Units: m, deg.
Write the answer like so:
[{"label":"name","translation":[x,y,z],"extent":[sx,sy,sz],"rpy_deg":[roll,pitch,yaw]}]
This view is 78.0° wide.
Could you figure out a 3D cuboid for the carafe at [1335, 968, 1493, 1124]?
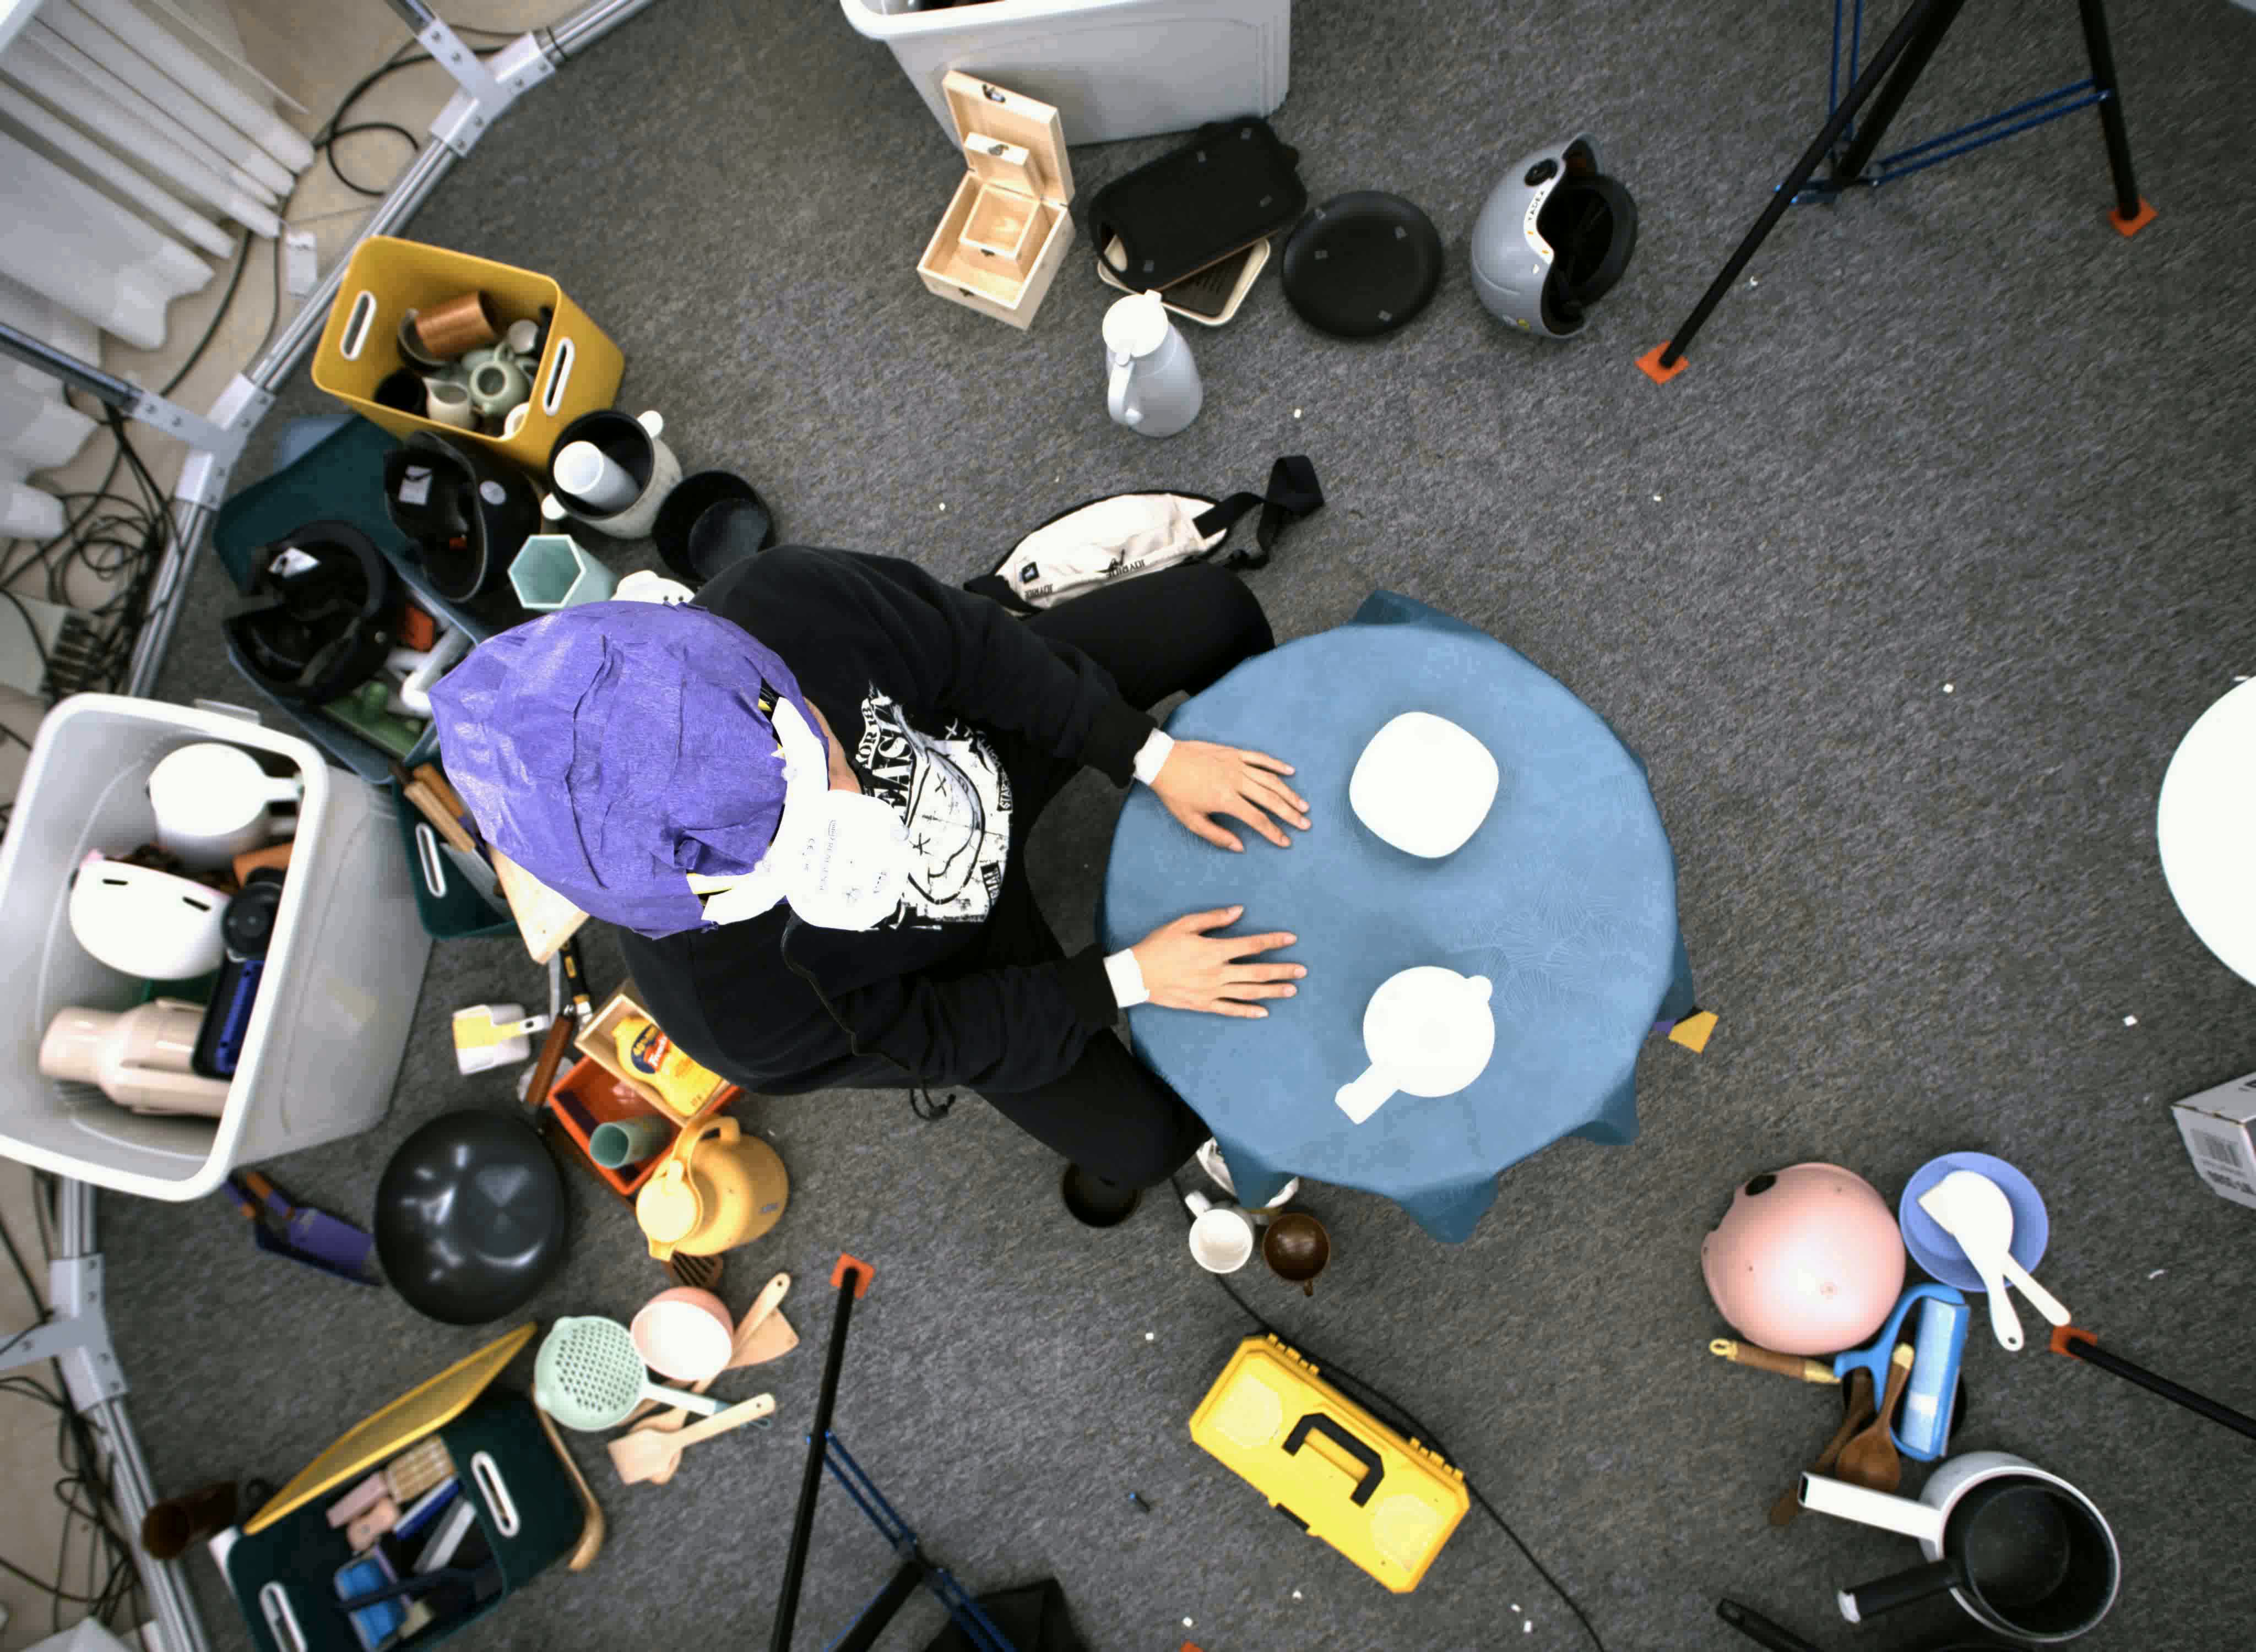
[{"label":"carafe","translation":[0.272,0.206,1.319],"extent":[0.173,0.269,0.123],"rpy_deg":[-45,81,4]}]

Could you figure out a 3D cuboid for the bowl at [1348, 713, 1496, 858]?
[{"label":"bowl","translation":[0.305,-0.041,1.432],"extent":[0.152,0.058,0.151],"rpy_deg":[-1,86,10]}]
